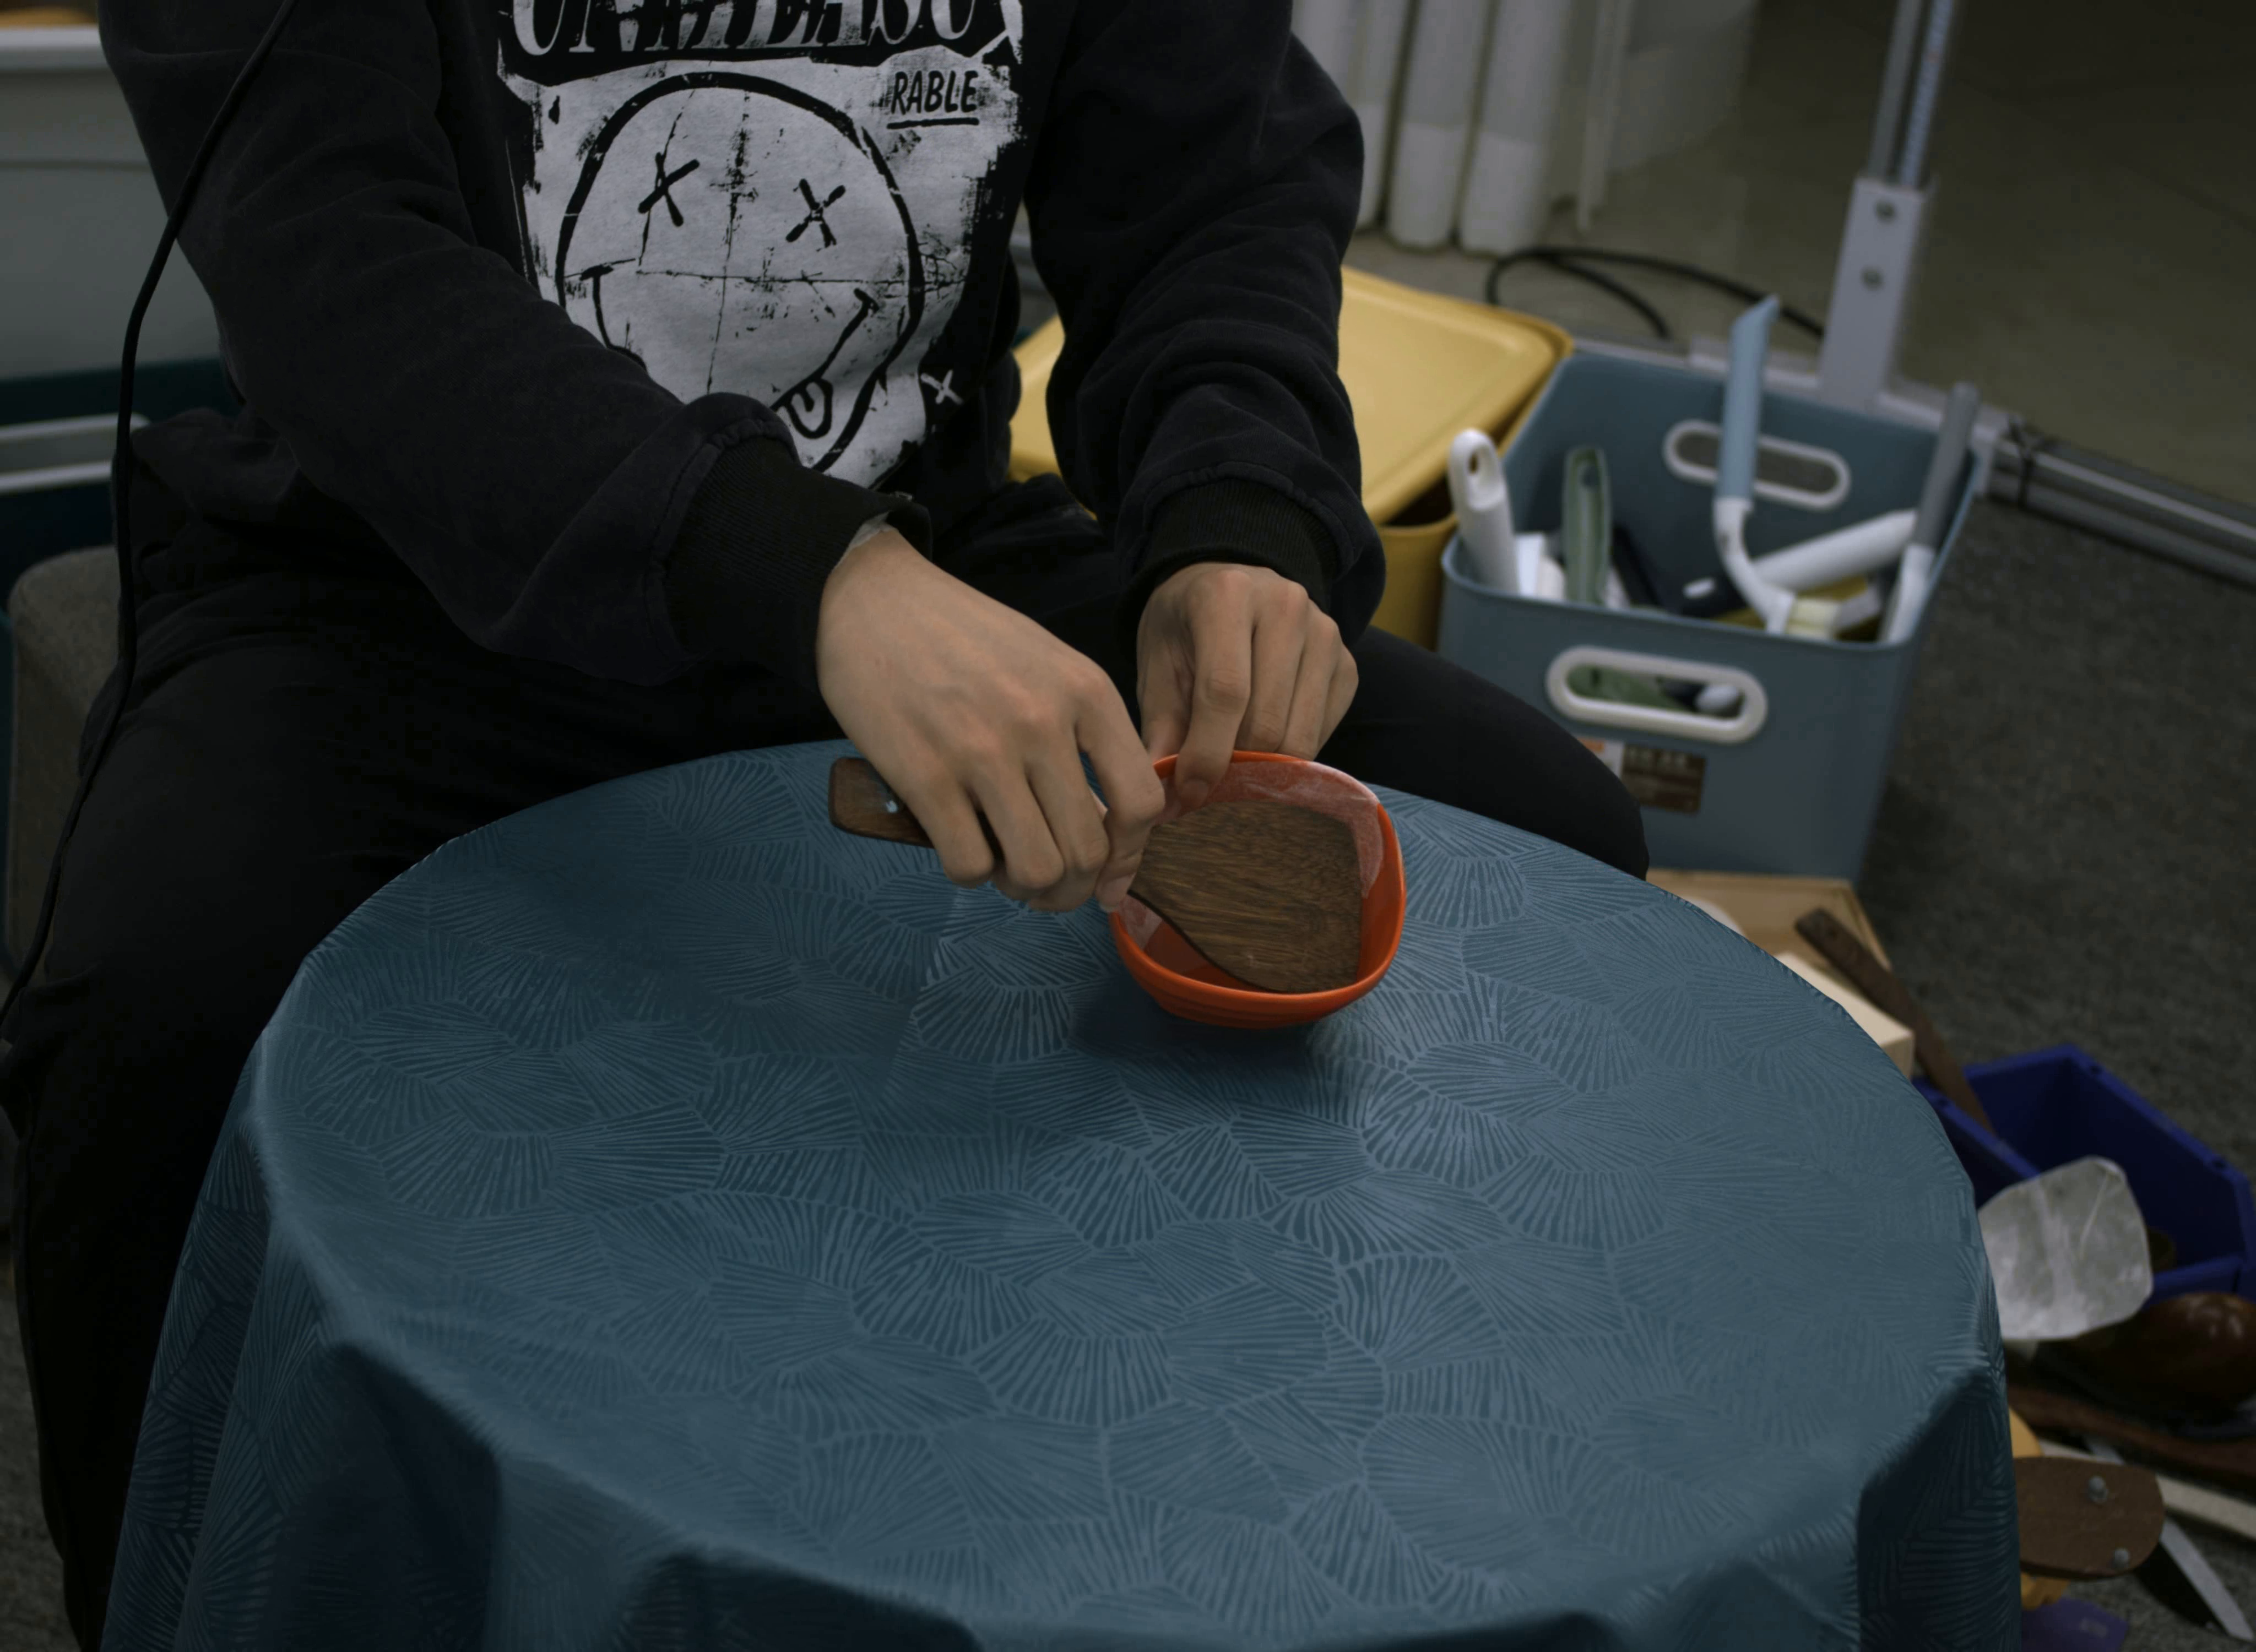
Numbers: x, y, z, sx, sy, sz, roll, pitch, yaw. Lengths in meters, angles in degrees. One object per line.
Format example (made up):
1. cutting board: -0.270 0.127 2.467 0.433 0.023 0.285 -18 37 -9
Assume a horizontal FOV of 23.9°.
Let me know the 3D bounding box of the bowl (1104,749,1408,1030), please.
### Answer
1. bowl: 0.042 0.031 1.911 0.118 0.051 0.120 5 53 -7

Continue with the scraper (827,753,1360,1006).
1. scraper: -0.011 0.009 1.856 0.209 0.011 0.076 14 63 -26
